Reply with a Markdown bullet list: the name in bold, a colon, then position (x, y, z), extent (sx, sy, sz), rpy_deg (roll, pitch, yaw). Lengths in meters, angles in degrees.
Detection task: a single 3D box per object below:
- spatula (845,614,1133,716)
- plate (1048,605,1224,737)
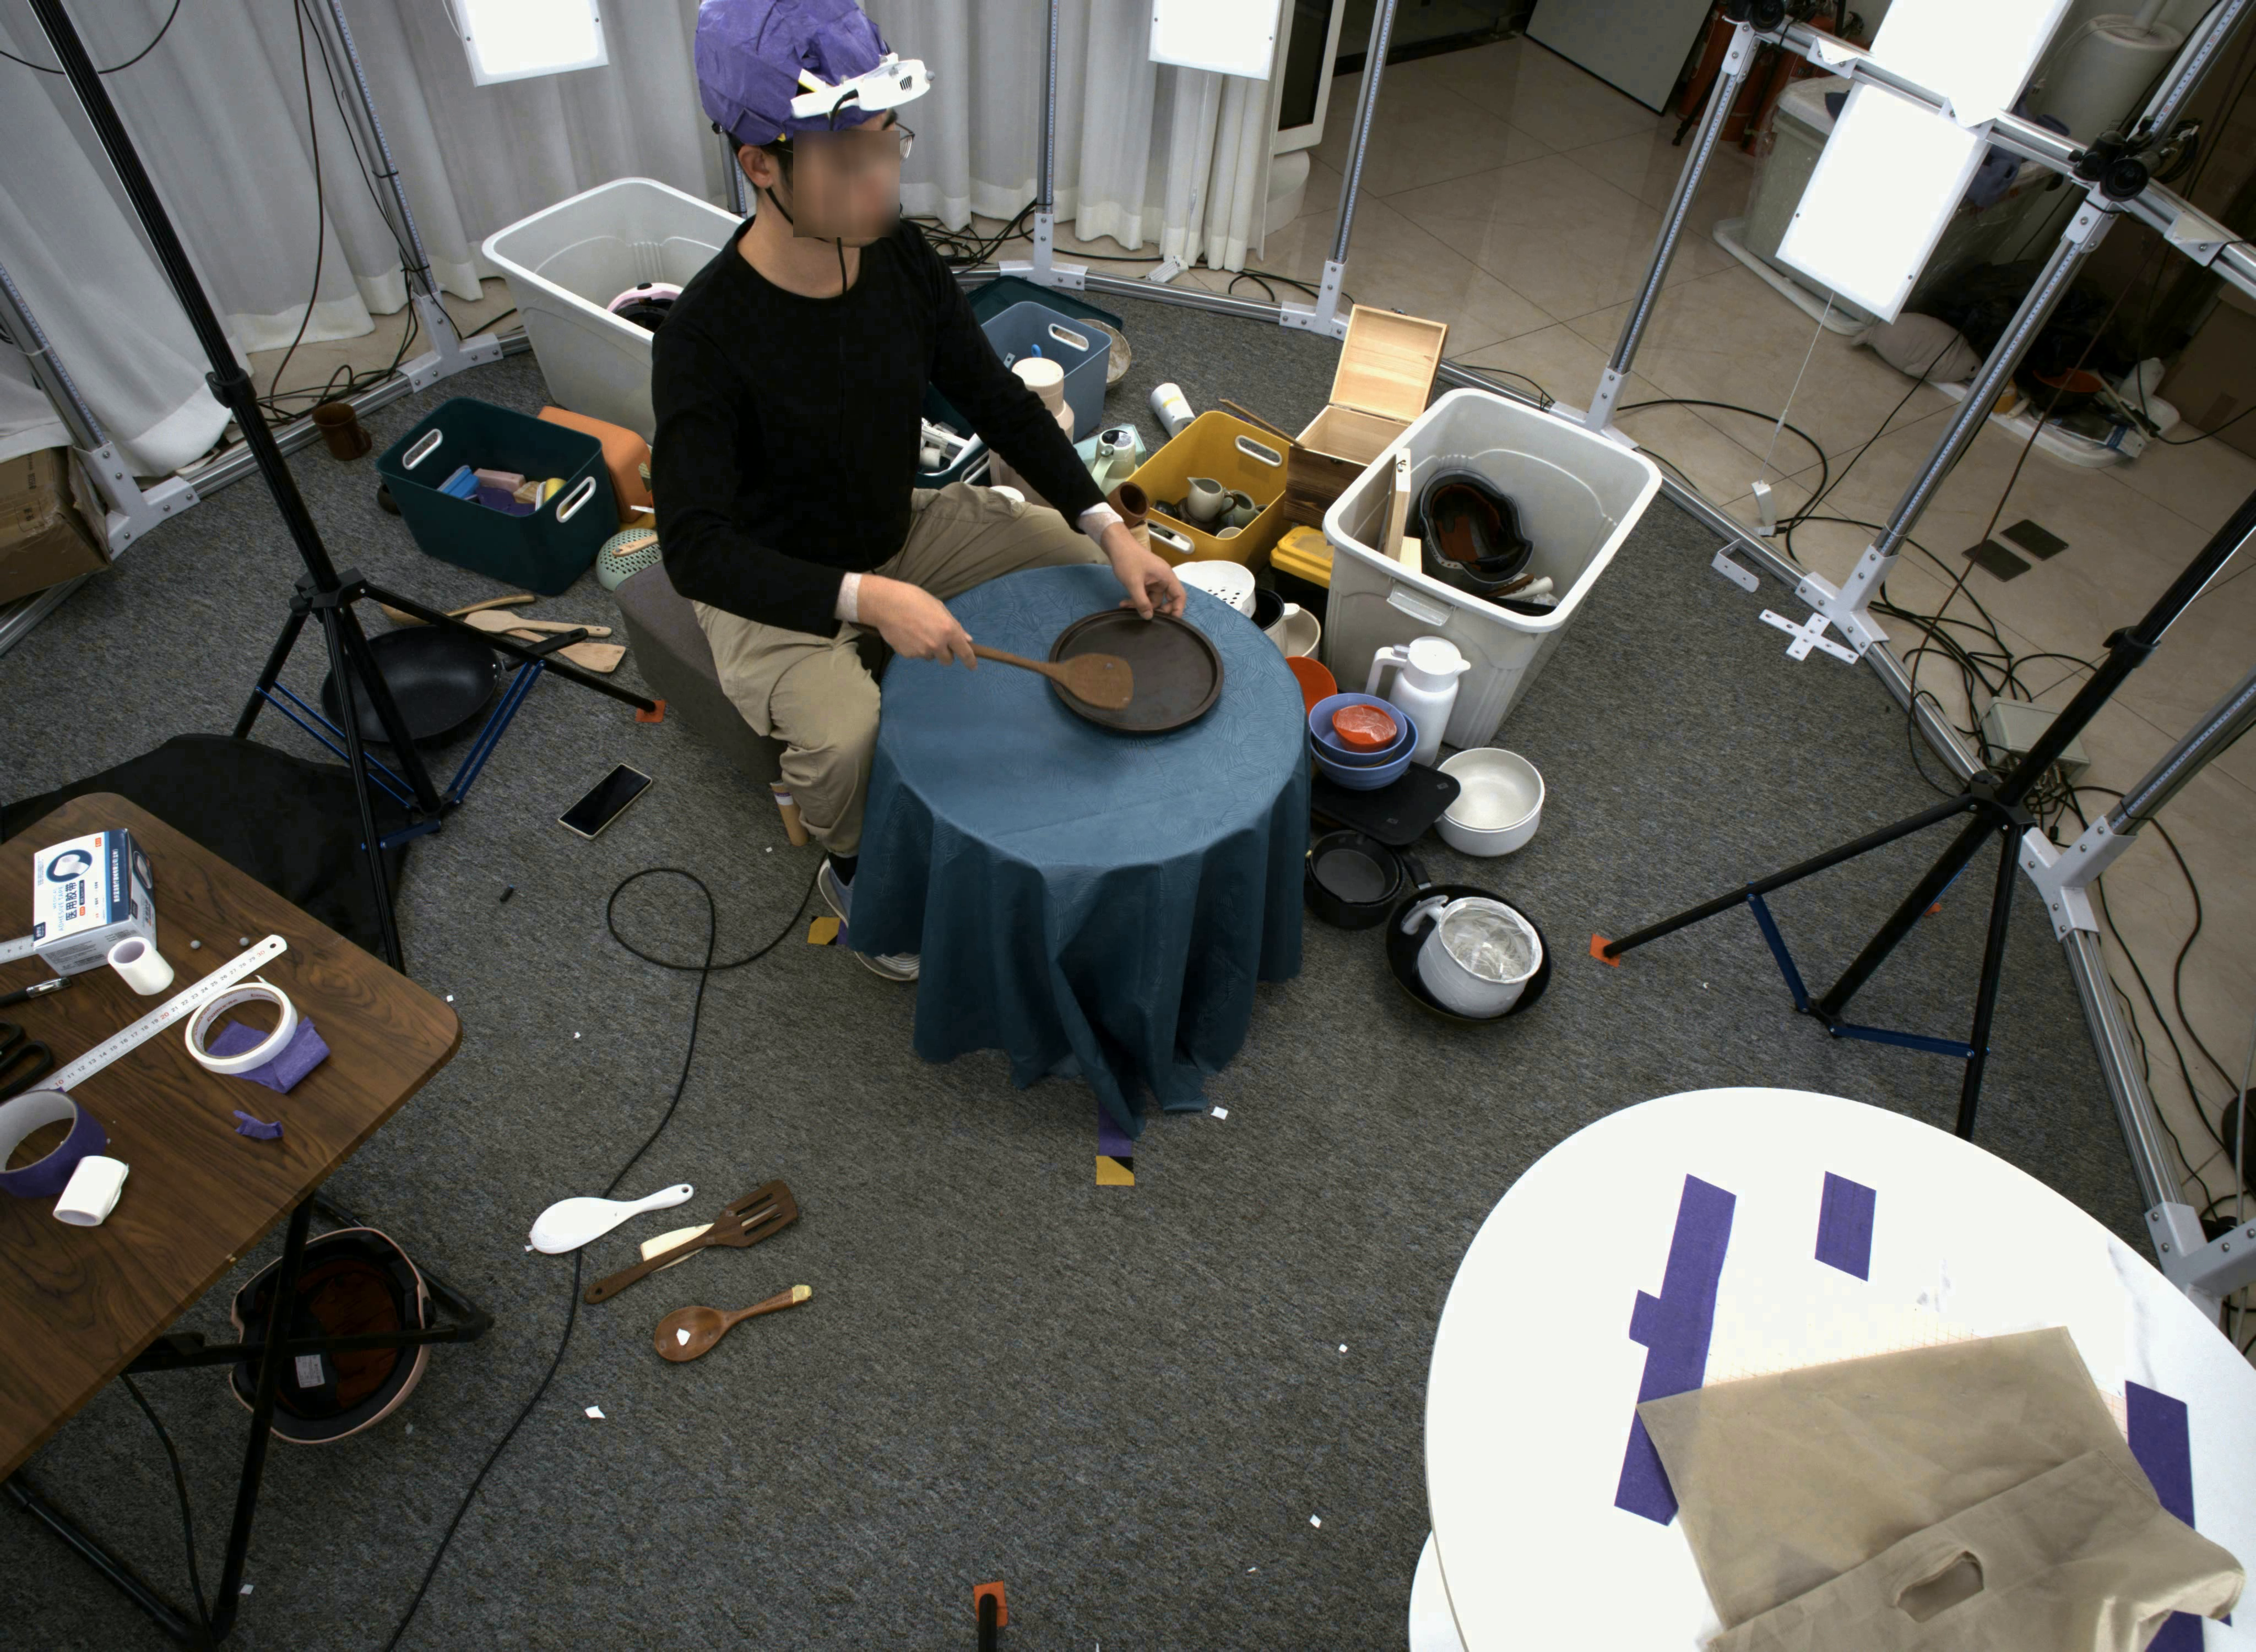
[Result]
- **spatula**: position (-0.174, -0.219, 1.678), extent (0.384, 0.015, 0.098), rpy_deg (13, 52, -15)
- **plate**: position (0.012, -0.222, 1.848), extent (0.254, 0.028, 0.261), rpy_deg (1, 50, -2)
